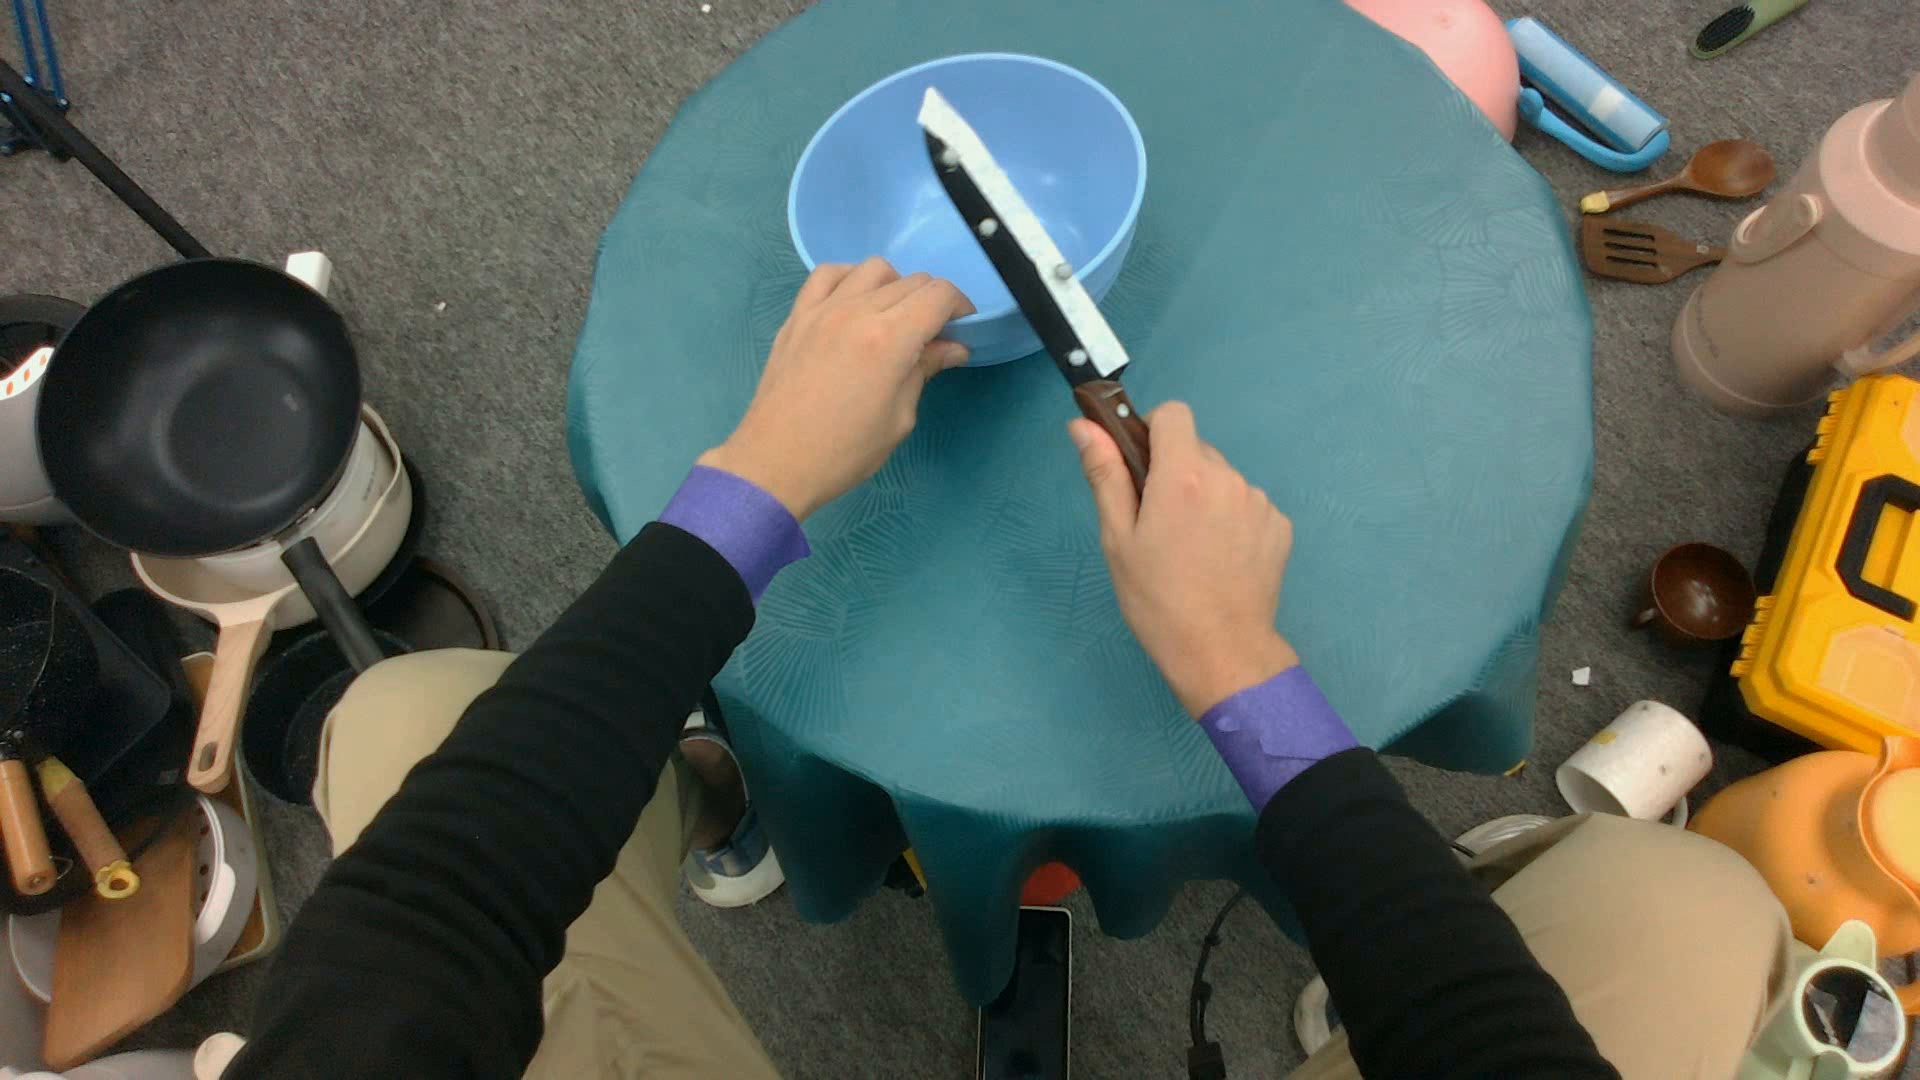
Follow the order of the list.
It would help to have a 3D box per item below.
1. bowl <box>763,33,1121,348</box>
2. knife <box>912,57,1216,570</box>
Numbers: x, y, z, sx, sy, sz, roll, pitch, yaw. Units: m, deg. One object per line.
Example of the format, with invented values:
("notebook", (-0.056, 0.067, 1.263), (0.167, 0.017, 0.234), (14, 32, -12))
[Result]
("bowl", (-0.006, -0.183, 0.786), (0.196, 0.095, 0.197), (-3, 61, 6))
("knife", (0.051, -0.113, 0.688), (0.050, 0.020, 0.289), (-33, 94, -39))
